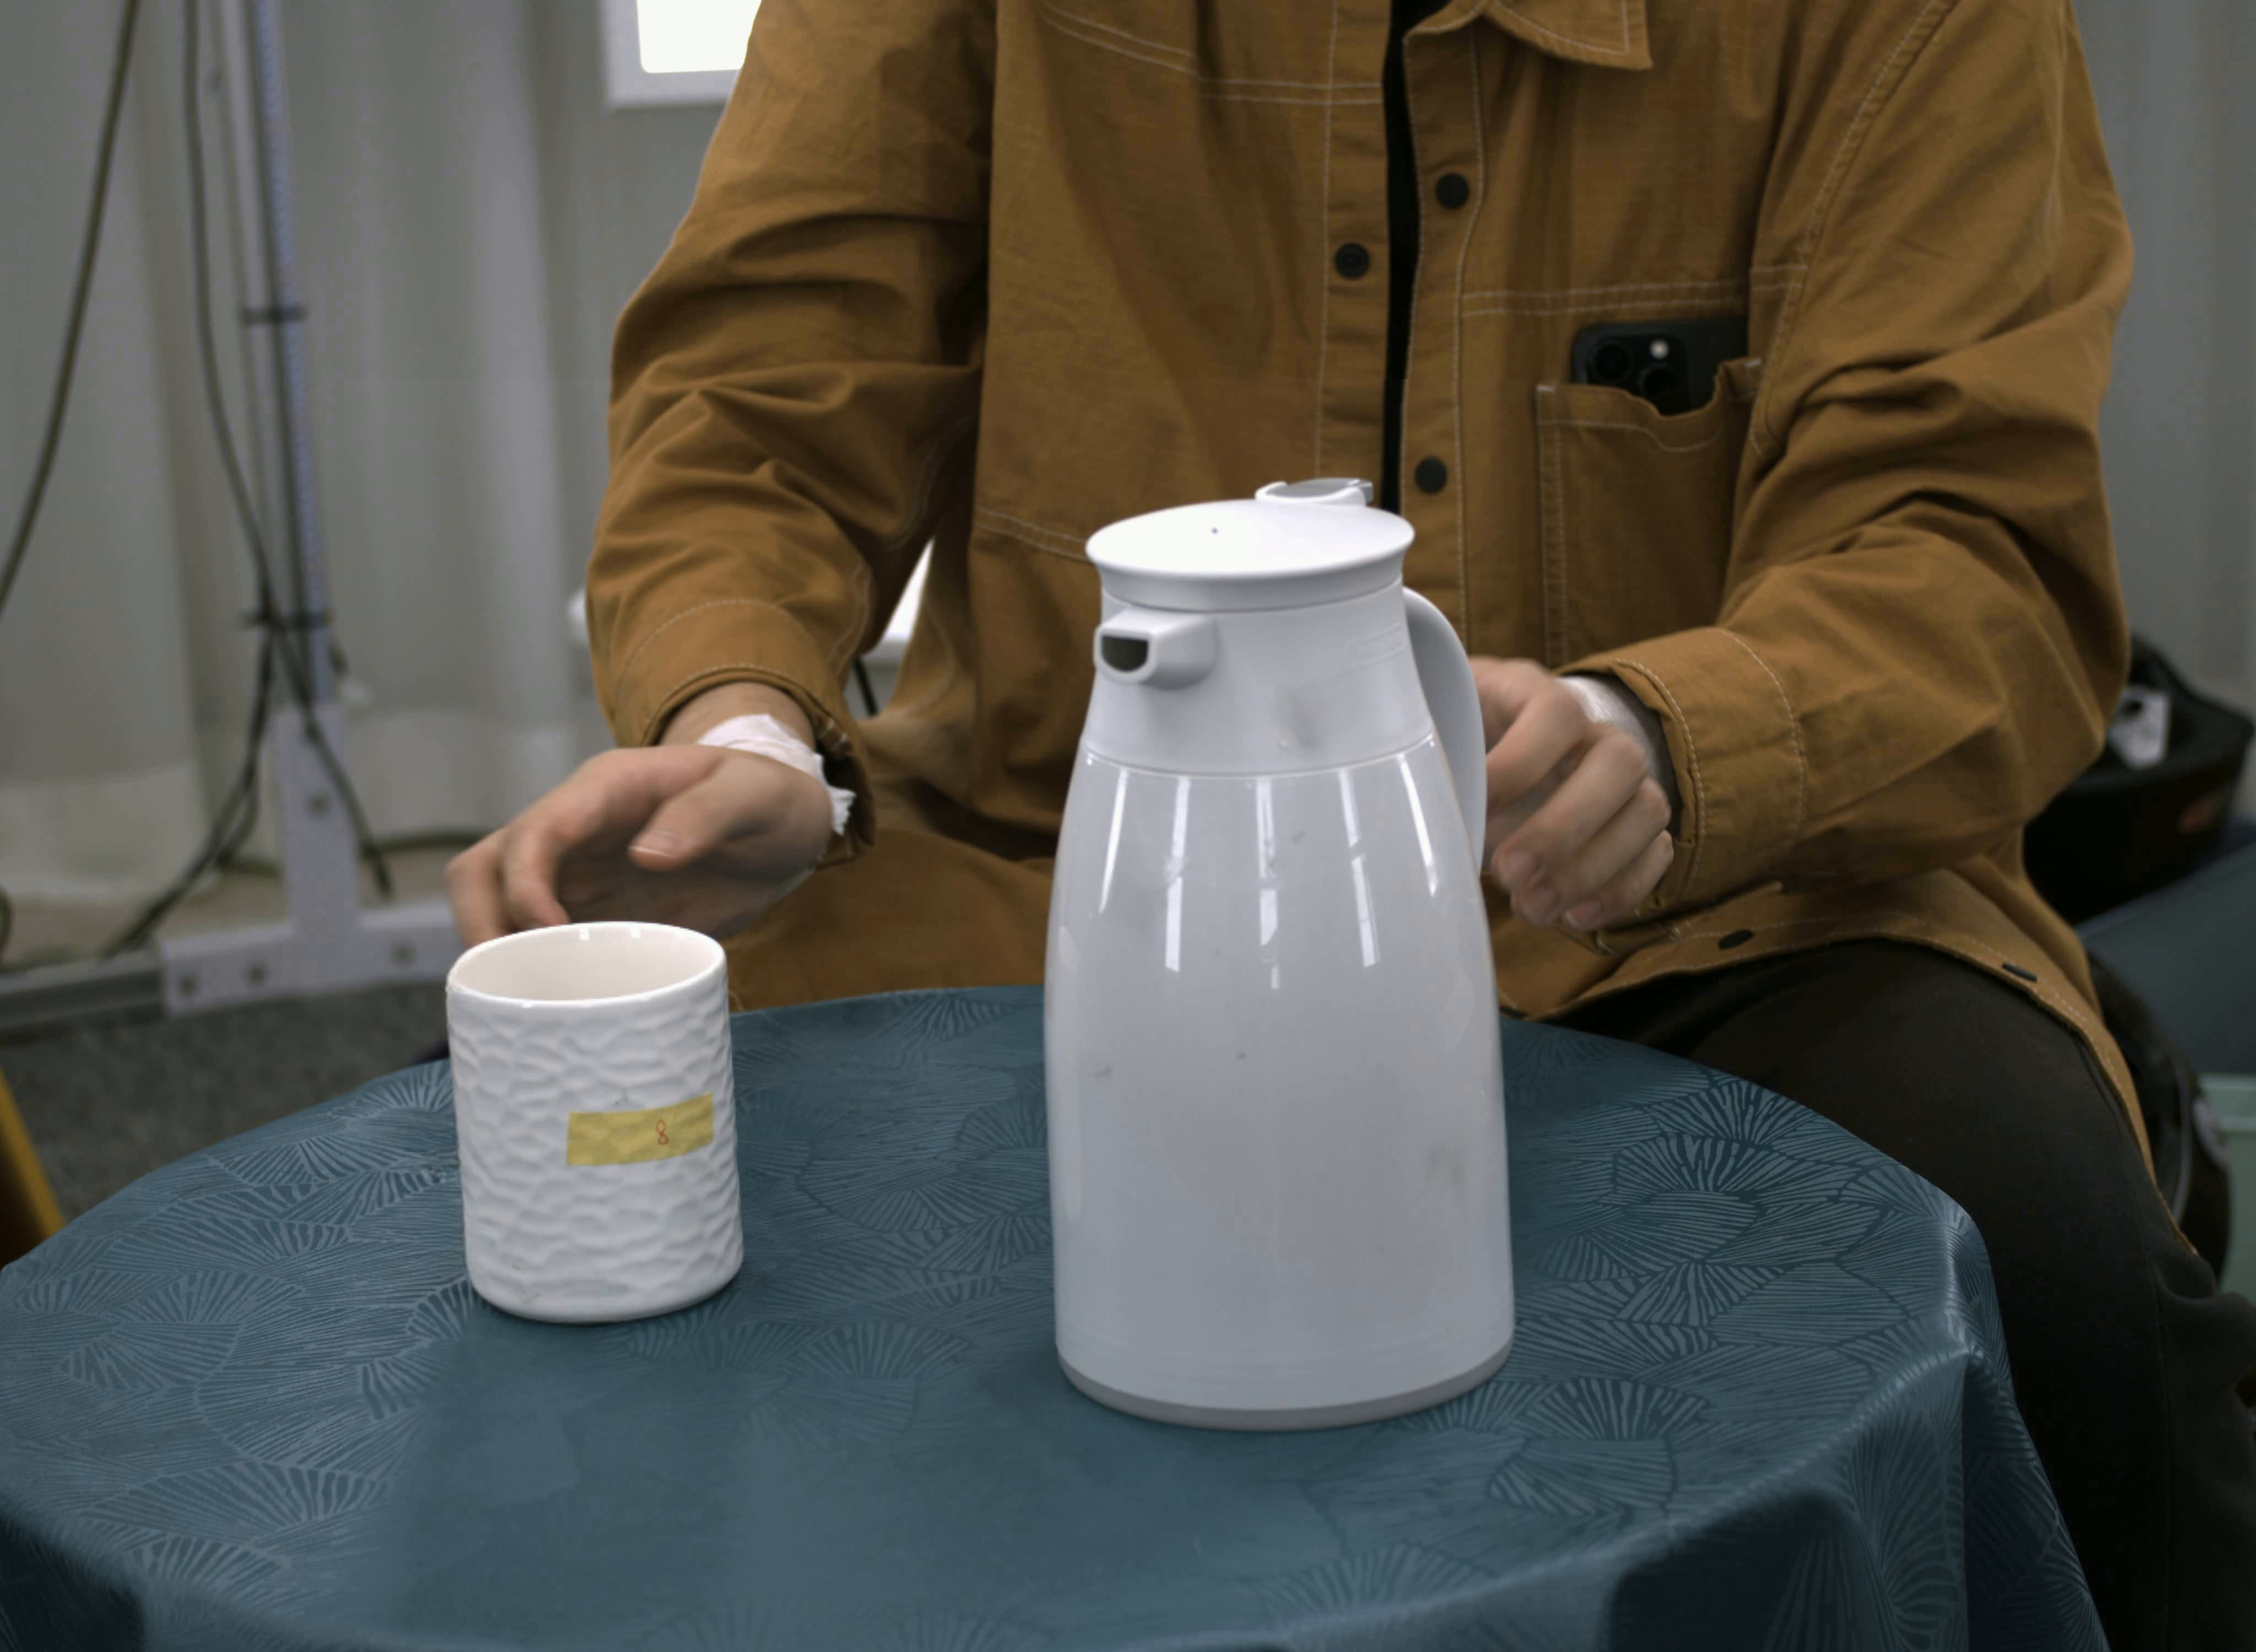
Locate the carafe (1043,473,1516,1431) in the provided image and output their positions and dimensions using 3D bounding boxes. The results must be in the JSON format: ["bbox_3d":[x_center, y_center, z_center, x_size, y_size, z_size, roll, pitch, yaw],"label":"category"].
[{"bbox_3d":[0.049,0.027,1.557,0.133,0.248,0.167,5,16,34],"label":"carafe"}]

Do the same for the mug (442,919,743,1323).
[{"bbox_3d":[-0.162,0.085,1.659,0.084,0.101,0.119,-4,14,-6],"label":"mug"}]
